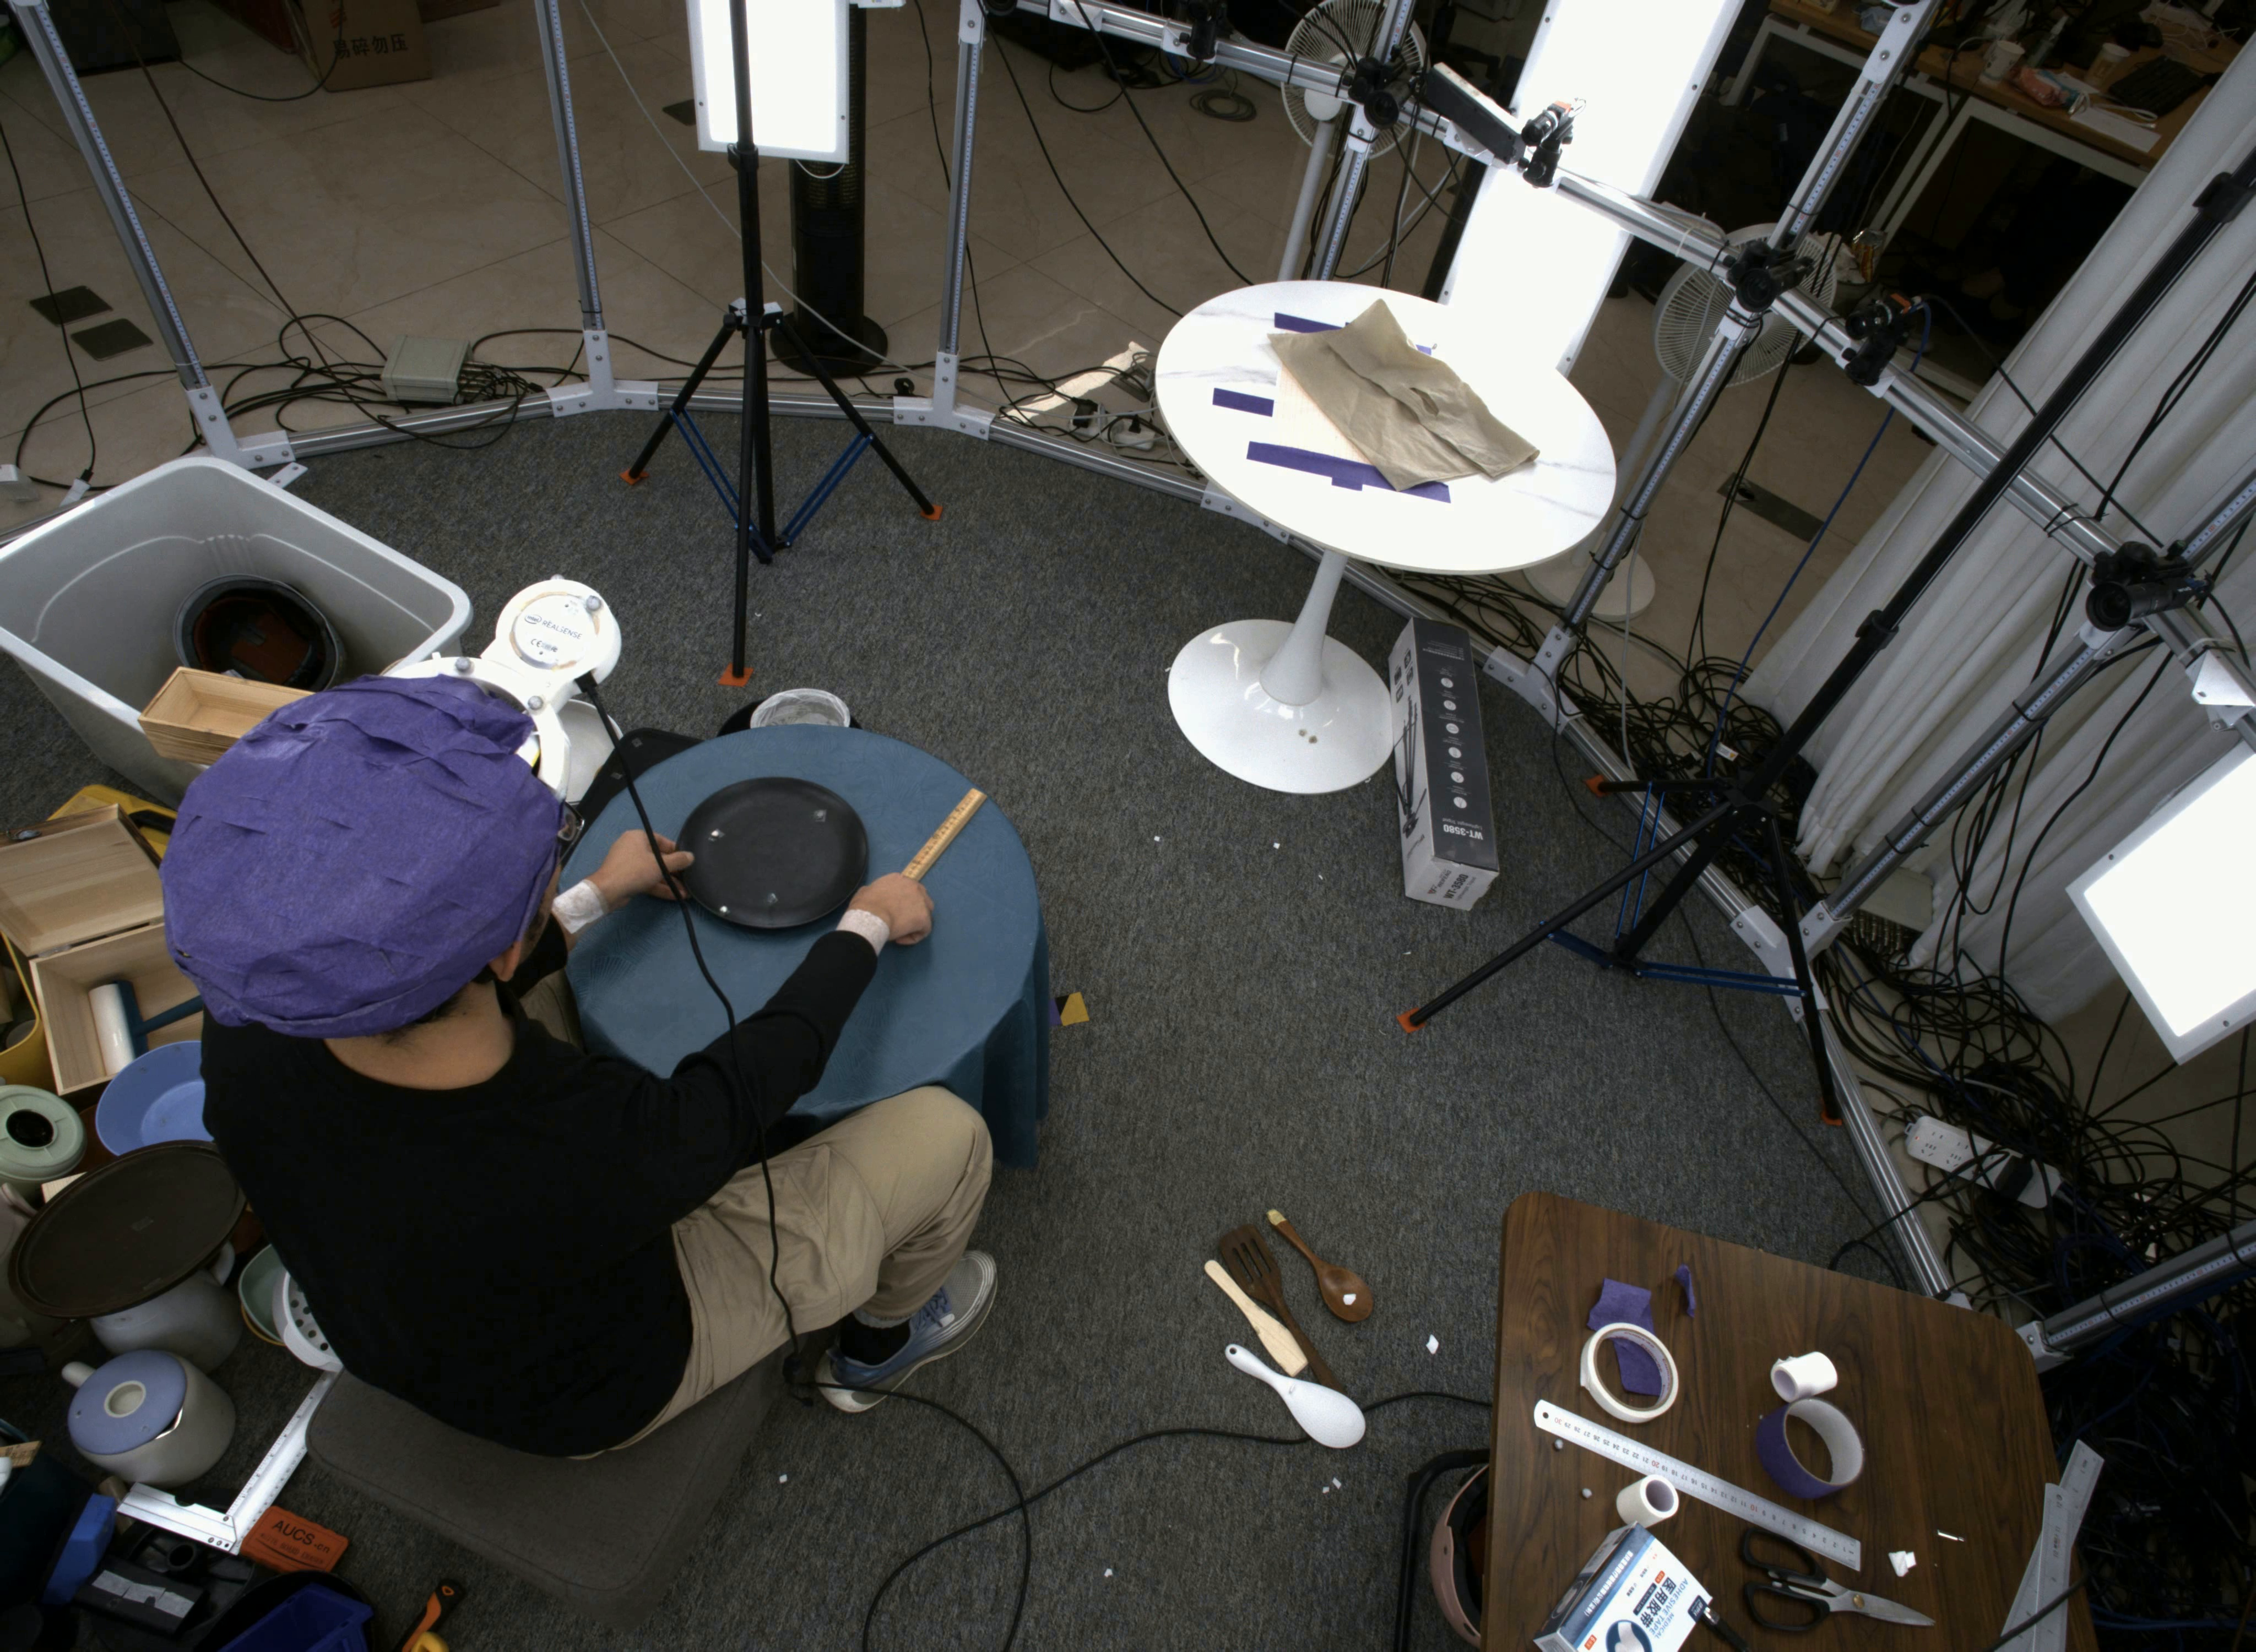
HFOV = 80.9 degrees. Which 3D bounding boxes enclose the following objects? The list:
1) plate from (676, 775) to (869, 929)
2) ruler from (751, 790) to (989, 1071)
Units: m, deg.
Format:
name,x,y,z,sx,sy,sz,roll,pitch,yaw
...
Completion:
name,x,y,z,sx,sy,sz,roll,pitch,yaw
plate,-0.457,0.034,1.669,0.244,0.024,0.240,8,53,-9
ruler,-0.317,0.115,1.658,0.026,0.006,0.498,26,52,11
